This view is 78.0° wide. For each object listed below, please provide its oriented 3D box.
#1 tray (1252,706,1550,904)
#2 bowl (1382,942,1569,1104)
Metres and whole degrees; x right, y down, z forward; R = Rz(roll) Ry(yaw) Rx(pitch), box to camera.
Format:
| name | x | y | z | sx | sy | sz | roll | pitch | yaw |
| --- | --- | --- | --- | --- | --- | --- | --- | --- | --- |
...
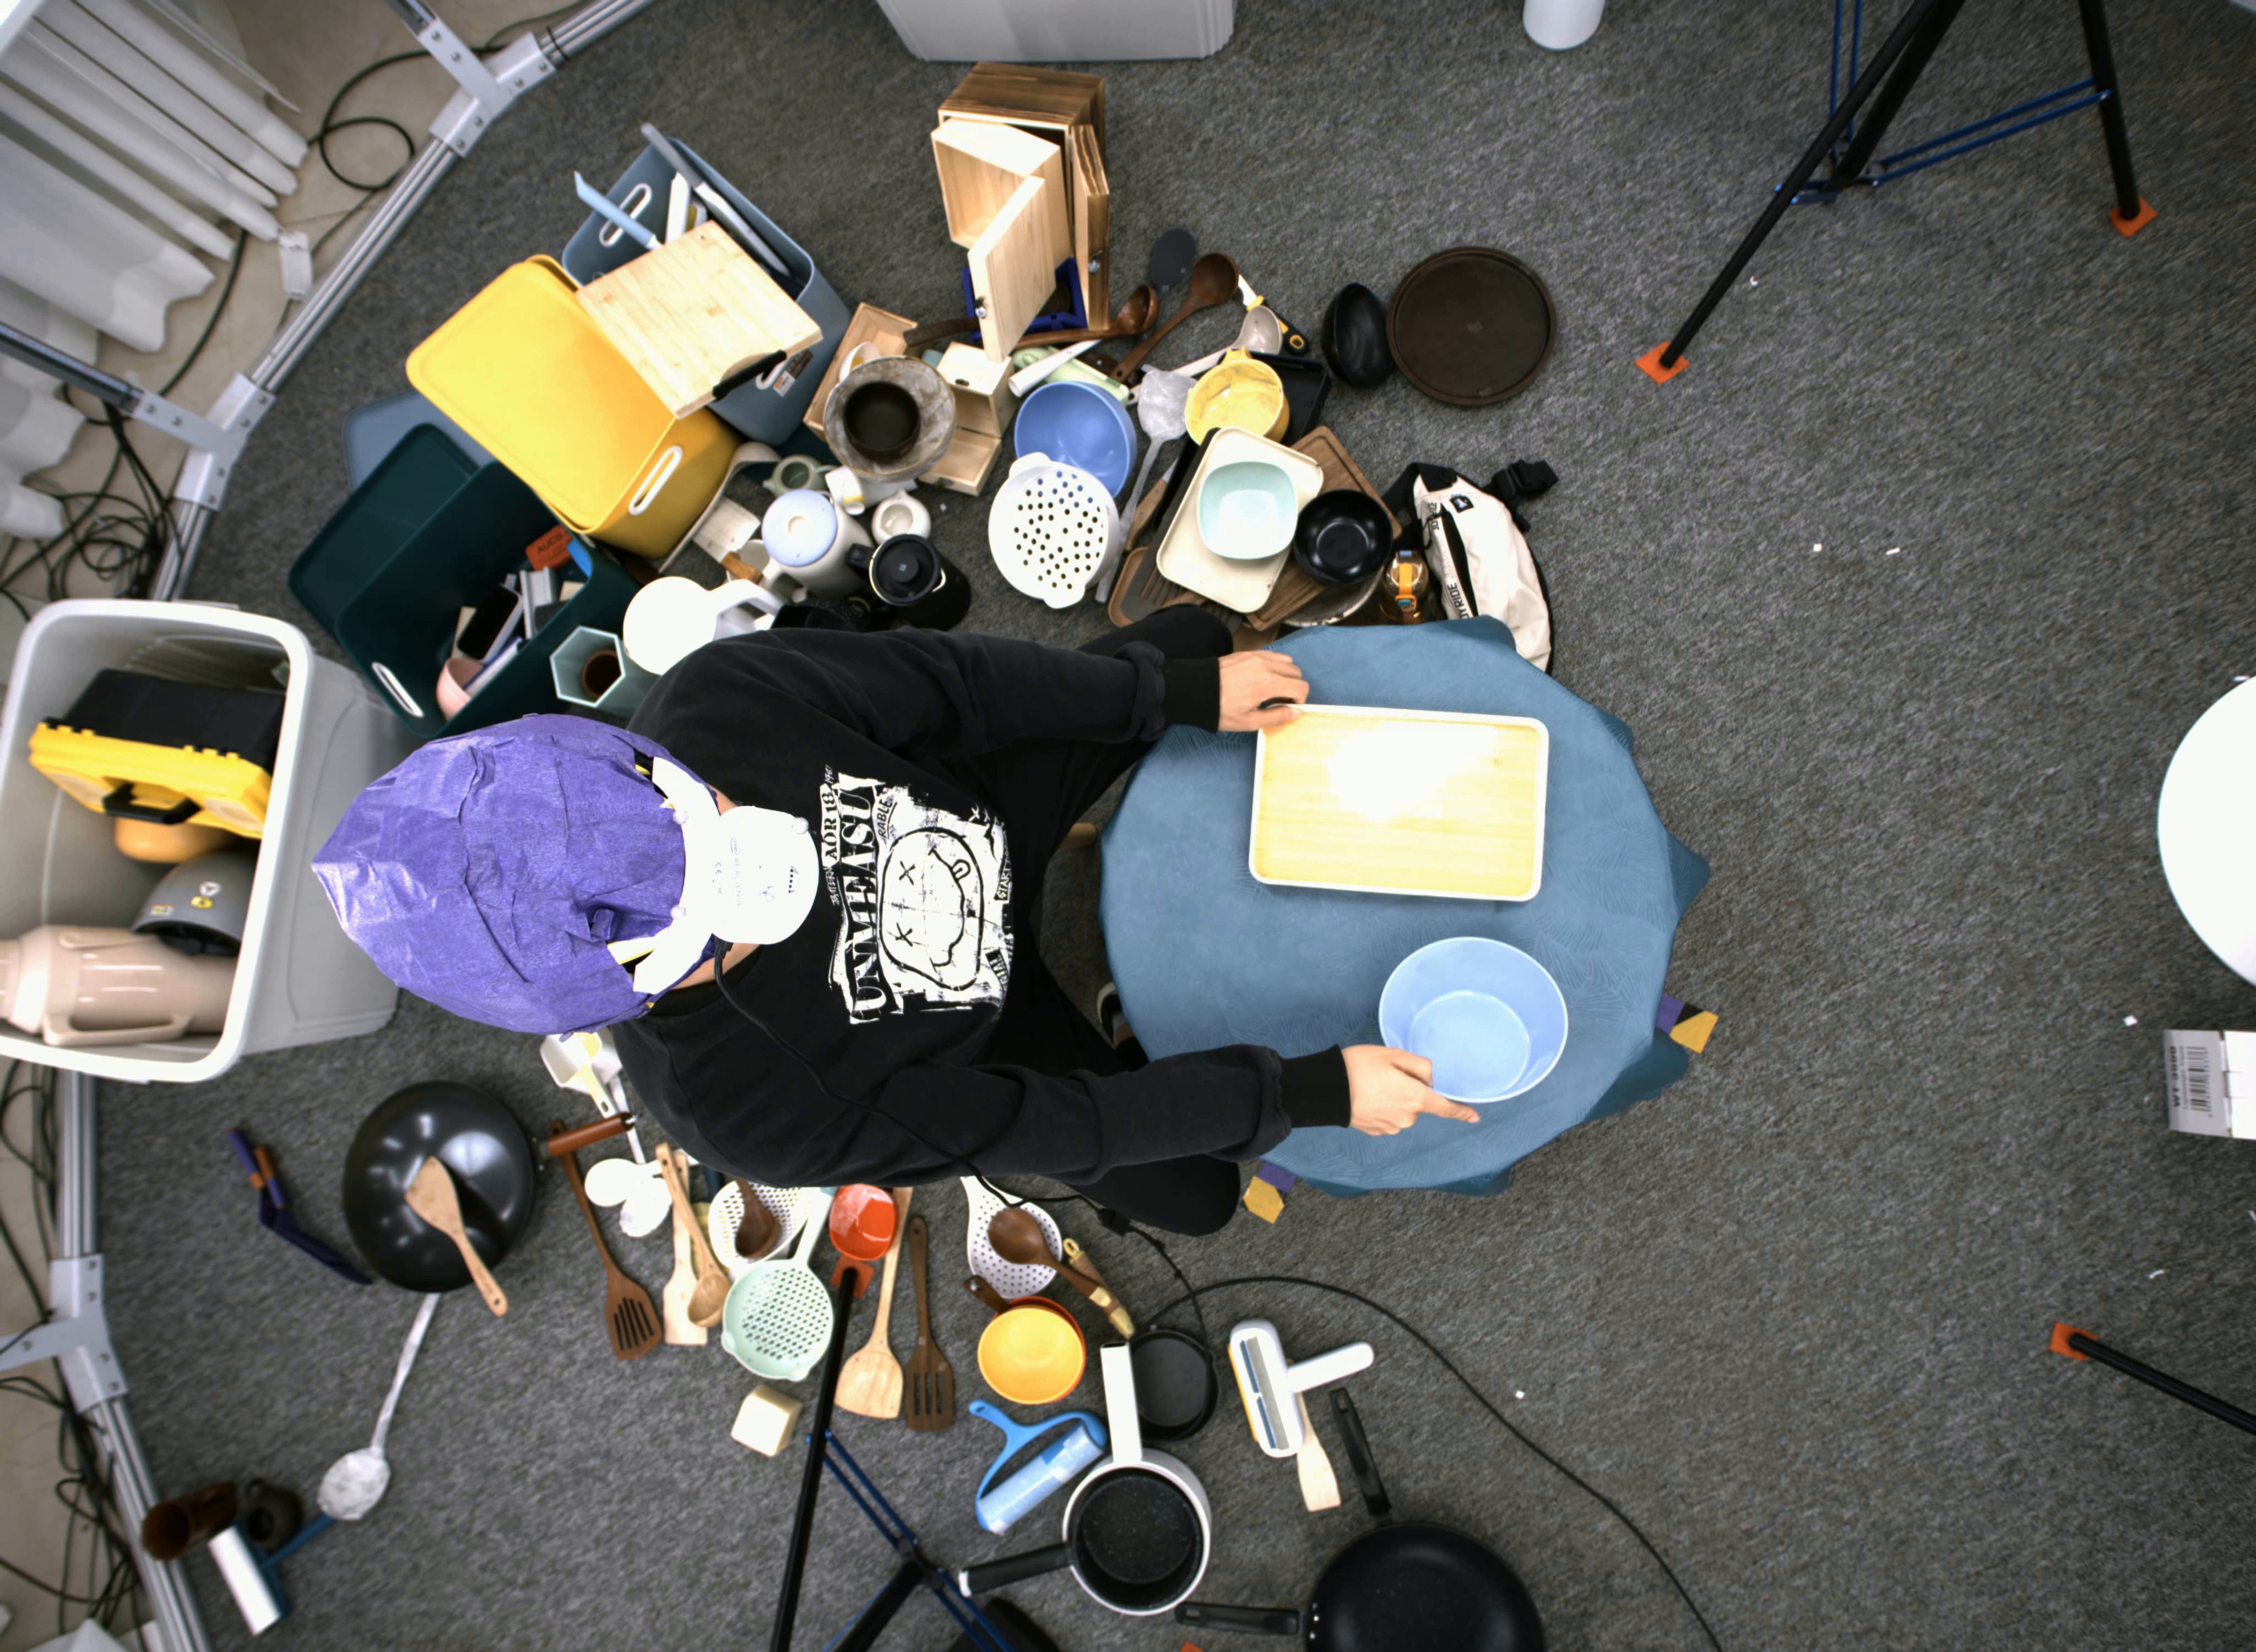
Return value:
| name | x | y | z | sx | sy | sz | roll | pitch | yaw |
| --- | --- | --- | --- | --- | --- | --- | --- | --- | --- |
| tray | 0.284 | -0.024 | 1.442 | 0.301 | 0.027 | 0.191 | 4 | 87 | 6 |
| bowl | 0.335 | 0.201 | 1.343 | 0.176 | 0.072 | 0.171 | -5 | 52 | 6 |
